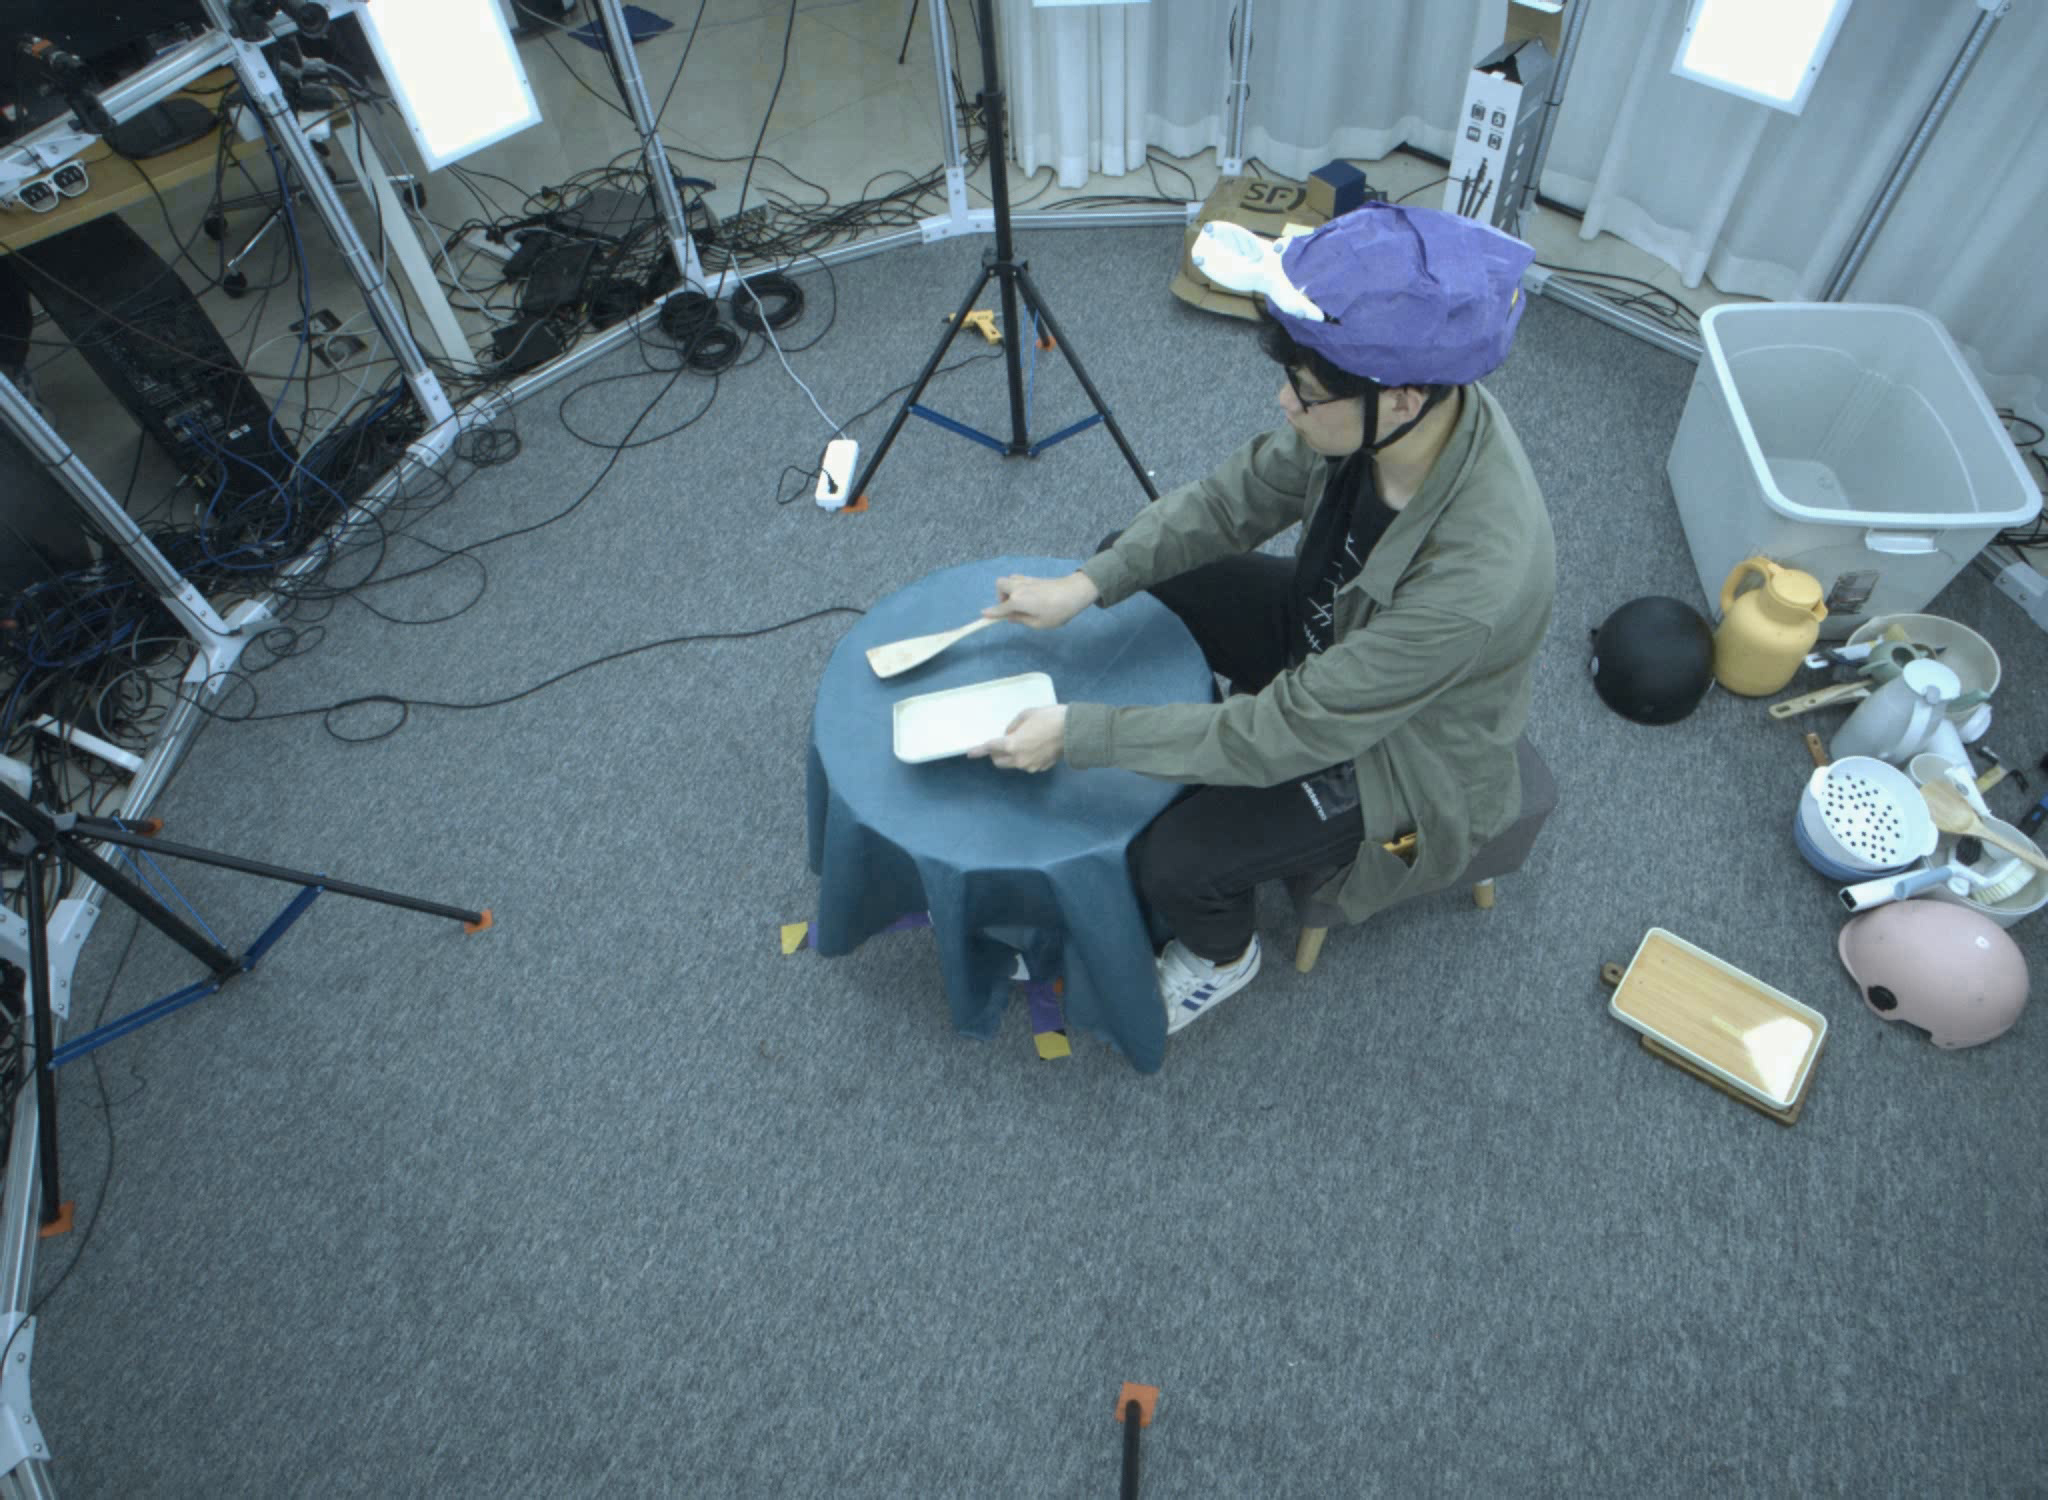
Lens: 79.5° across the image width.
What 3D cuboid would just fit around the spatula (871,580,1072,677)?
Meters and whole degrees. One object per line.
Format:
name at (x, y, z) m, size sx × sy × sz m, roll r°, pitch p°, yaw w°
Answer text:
spatula at (-0.079, -0.191, 1.874) m, size 0.327 × 0.017 × 0.078 m, roll -24°, pitch 42°, yaw 3°

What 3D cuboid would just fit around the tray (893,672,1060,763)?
tray at (-0.071, -0.047, 1.777) m, size 0.240 × 0.018 × 0.169 m, roll -11°, pitch 34°, yaw -1°
